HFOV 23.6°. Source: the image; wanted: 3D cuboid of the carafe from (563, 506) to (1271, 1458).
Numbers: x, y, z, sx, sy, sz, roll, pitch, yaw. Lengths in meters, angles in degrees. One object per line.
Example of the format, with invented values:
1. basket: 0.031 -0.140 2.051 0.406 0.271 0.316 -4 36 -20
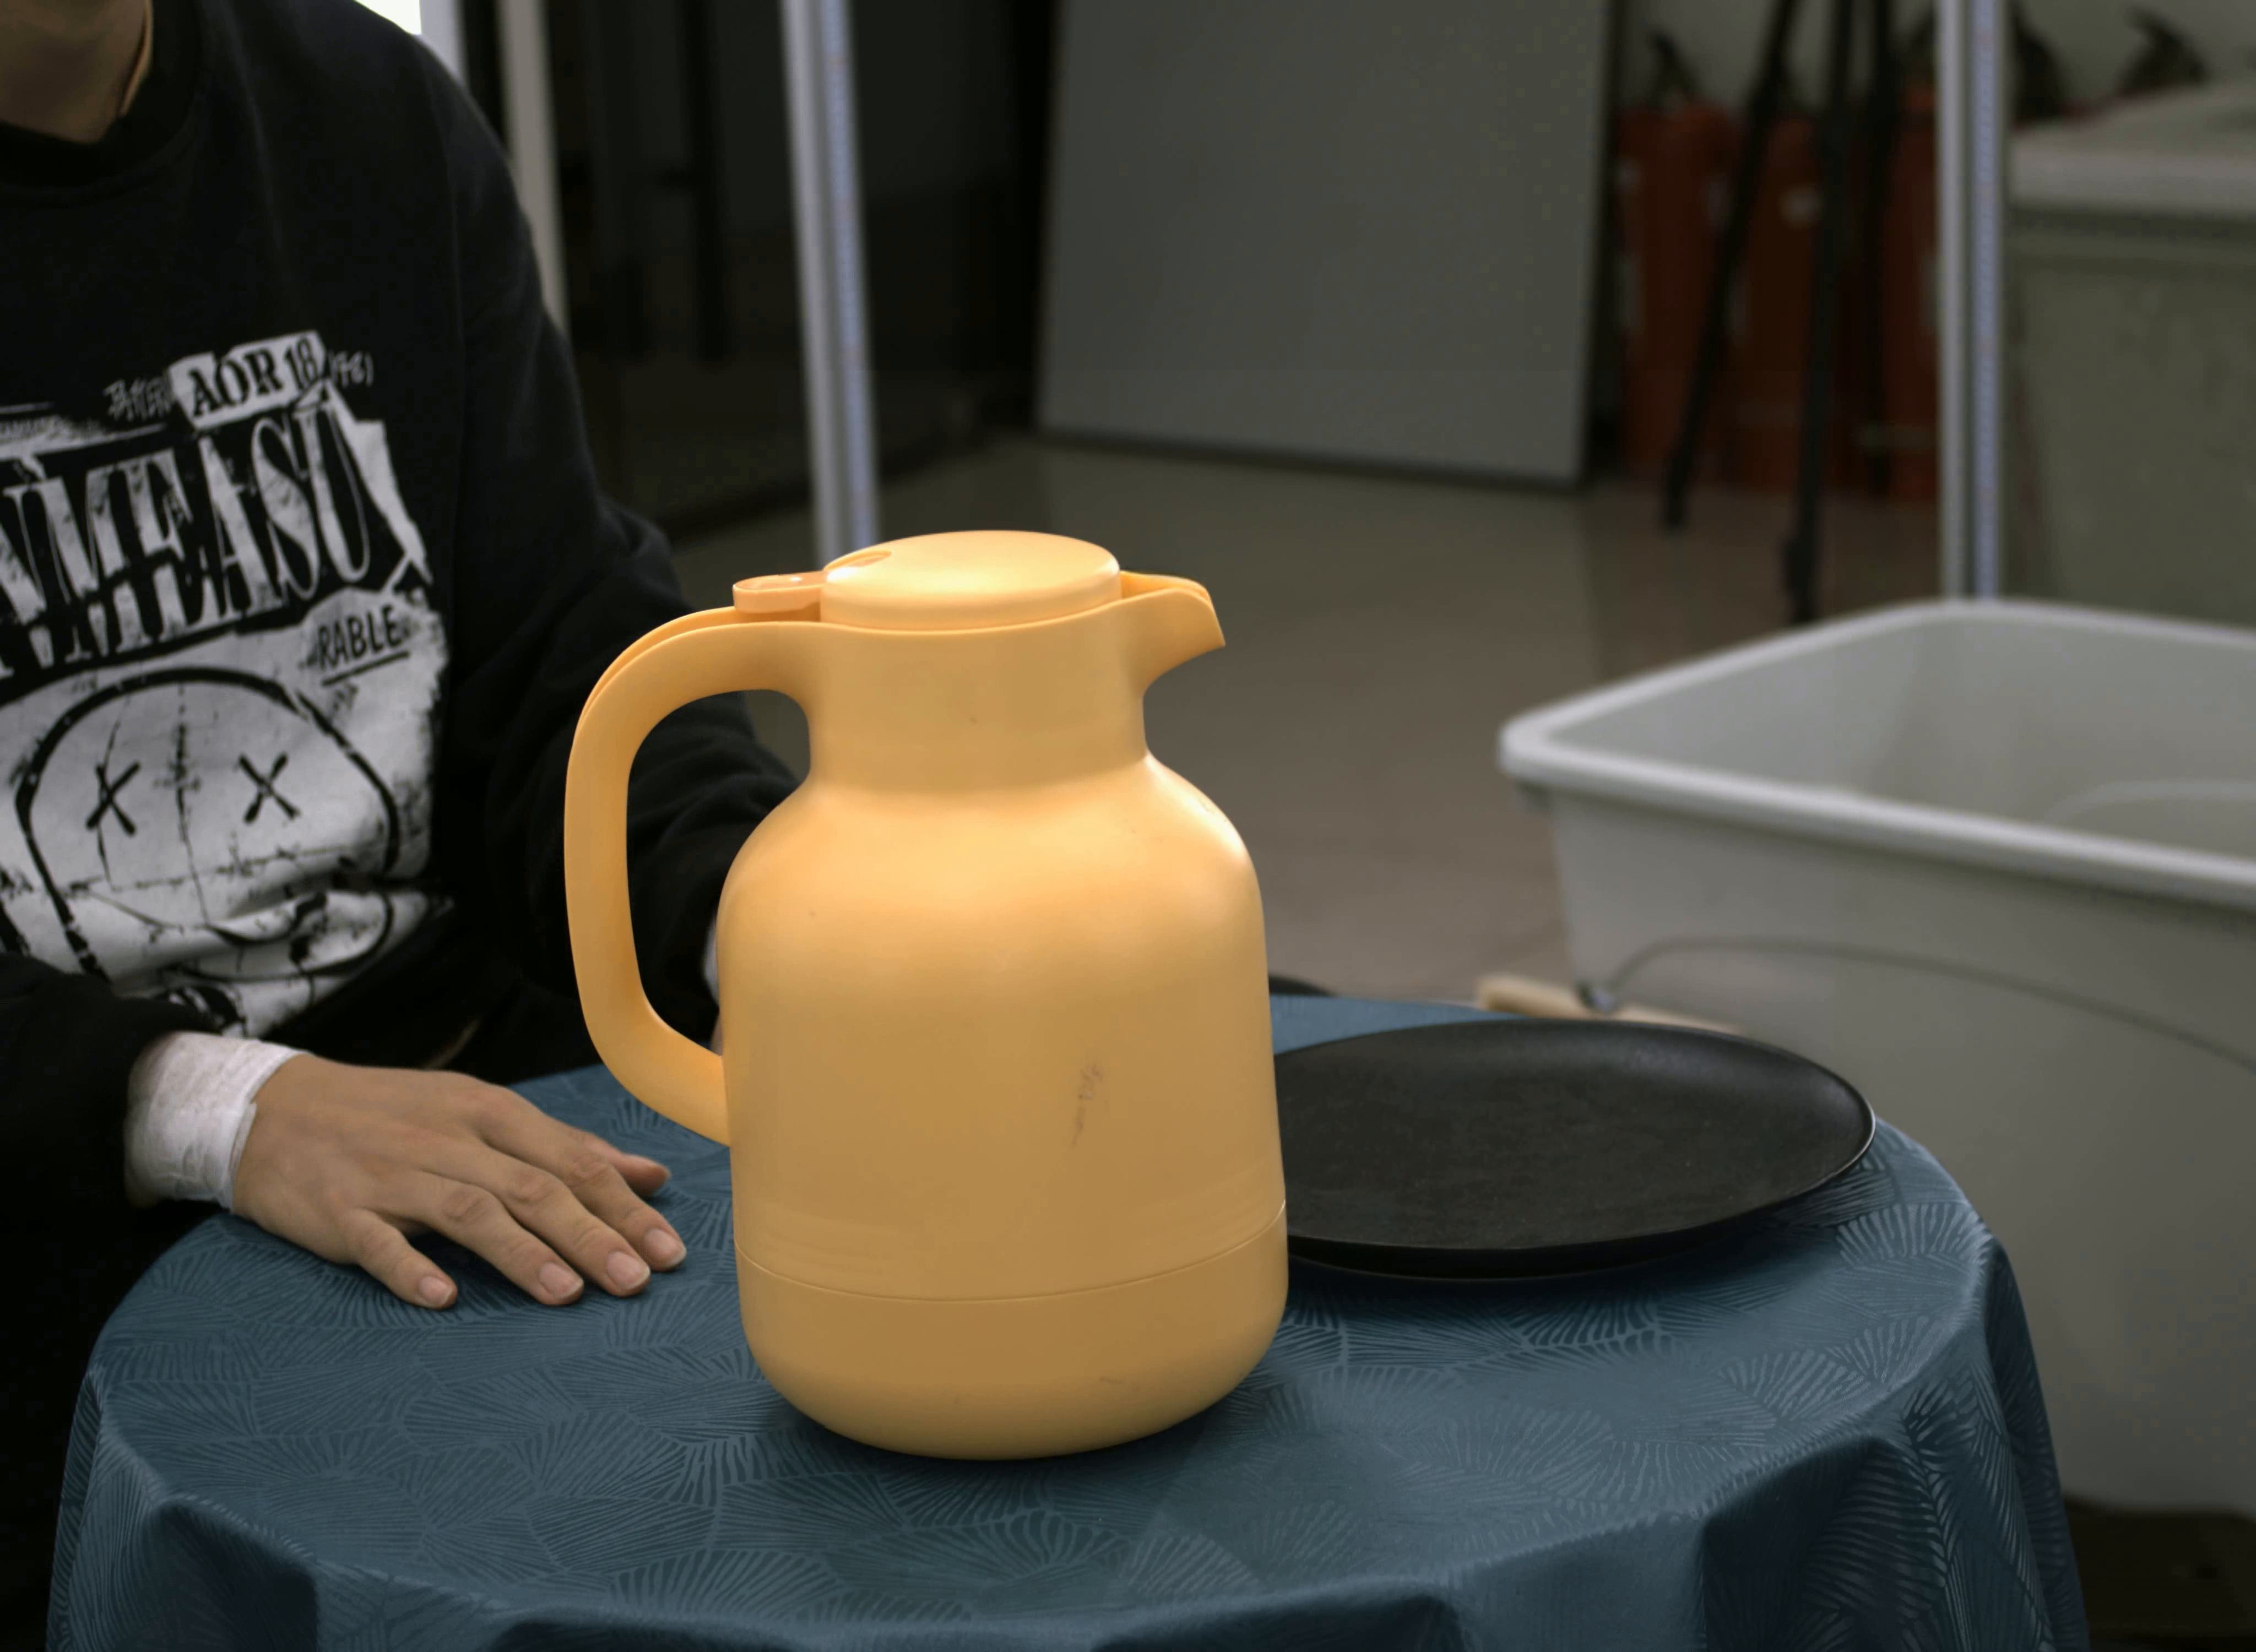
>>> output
1. carafe: -0.060 0.041 1.563 0.200 0.263 0.163 -2 11 1

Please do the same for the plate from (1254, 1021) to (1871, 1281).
1. plate: 0.120 0.107 1.743 0.241 0.024 0.245 -4 14 0
